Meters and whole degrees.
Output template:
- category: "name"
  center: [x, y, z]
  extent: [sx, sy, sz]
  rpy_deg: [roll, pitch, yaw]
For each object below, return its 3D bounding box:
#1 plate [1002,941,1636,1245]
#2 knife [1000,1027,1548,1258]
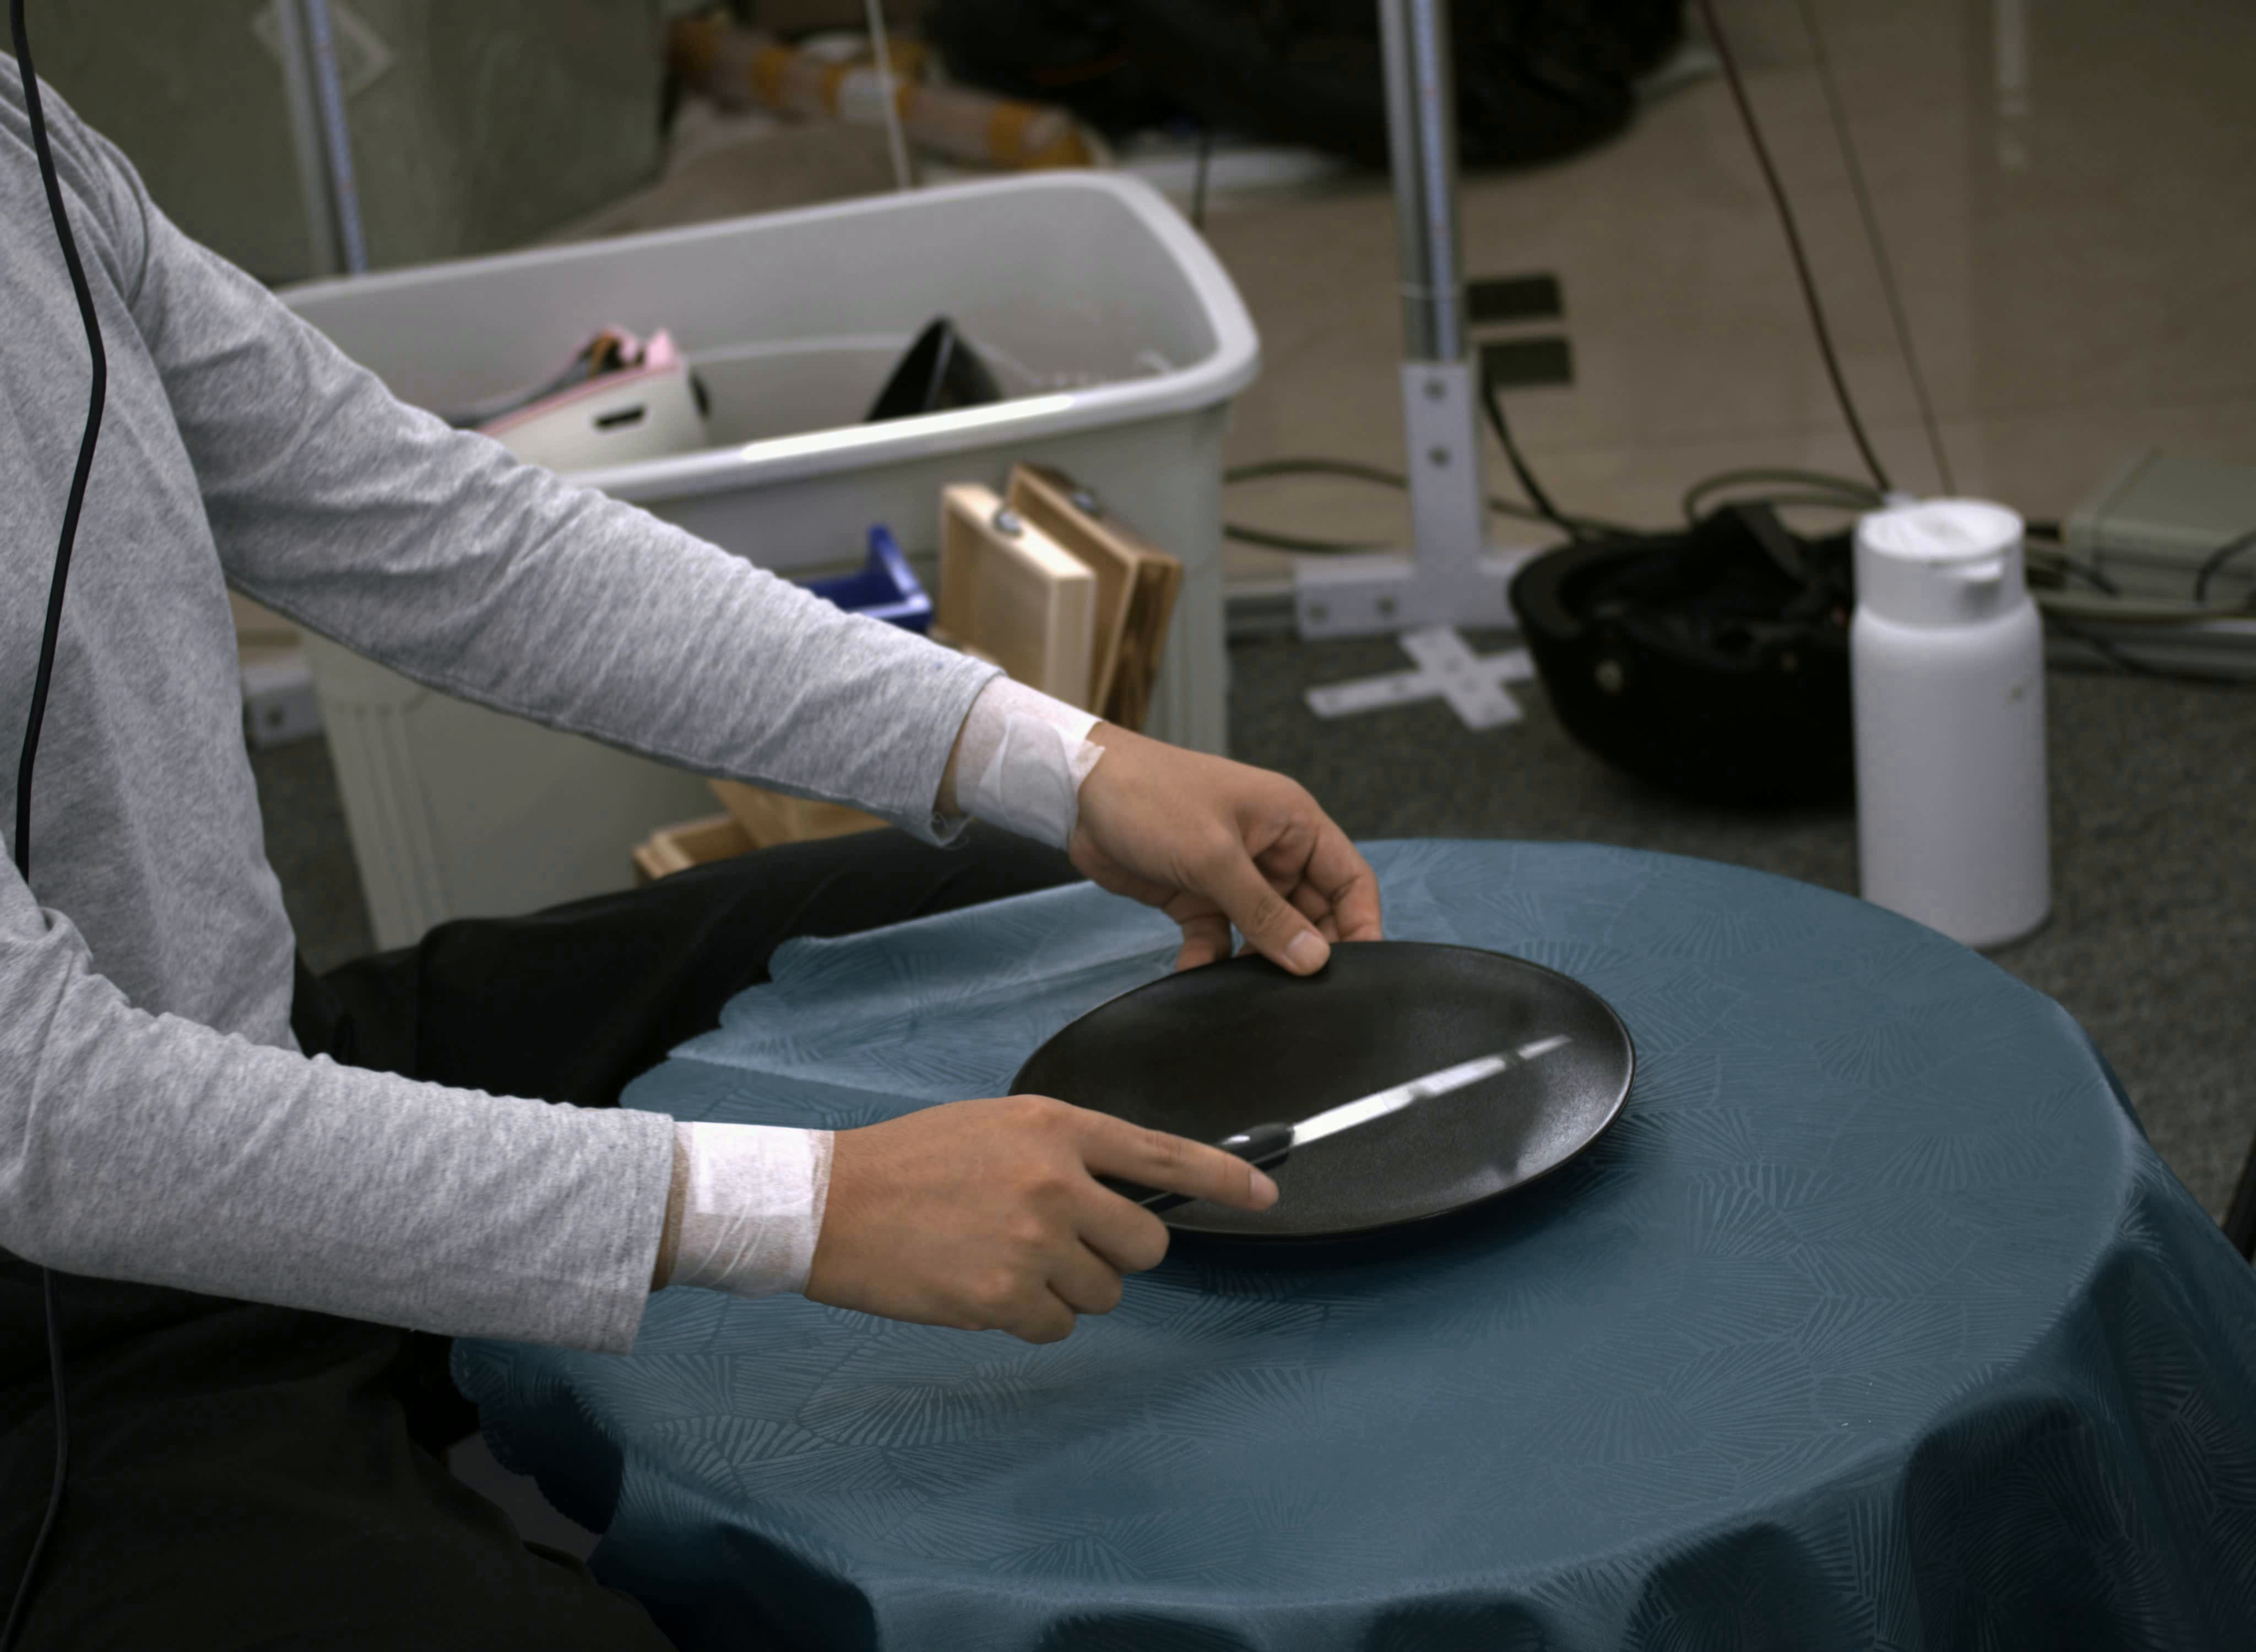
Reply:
- category: "plate"
  center: [0.074, 0.107, 2.175]
  extent: [0.244, 0.024, 0.241]
  rpy_deg: [-5, 25, 3]
- category: "knife"
  center: [0.058, 0.111, 2.052]
  extent: [0.237, 0.016, 0.024]
  rpy_deg: [-20, 19, -27]
